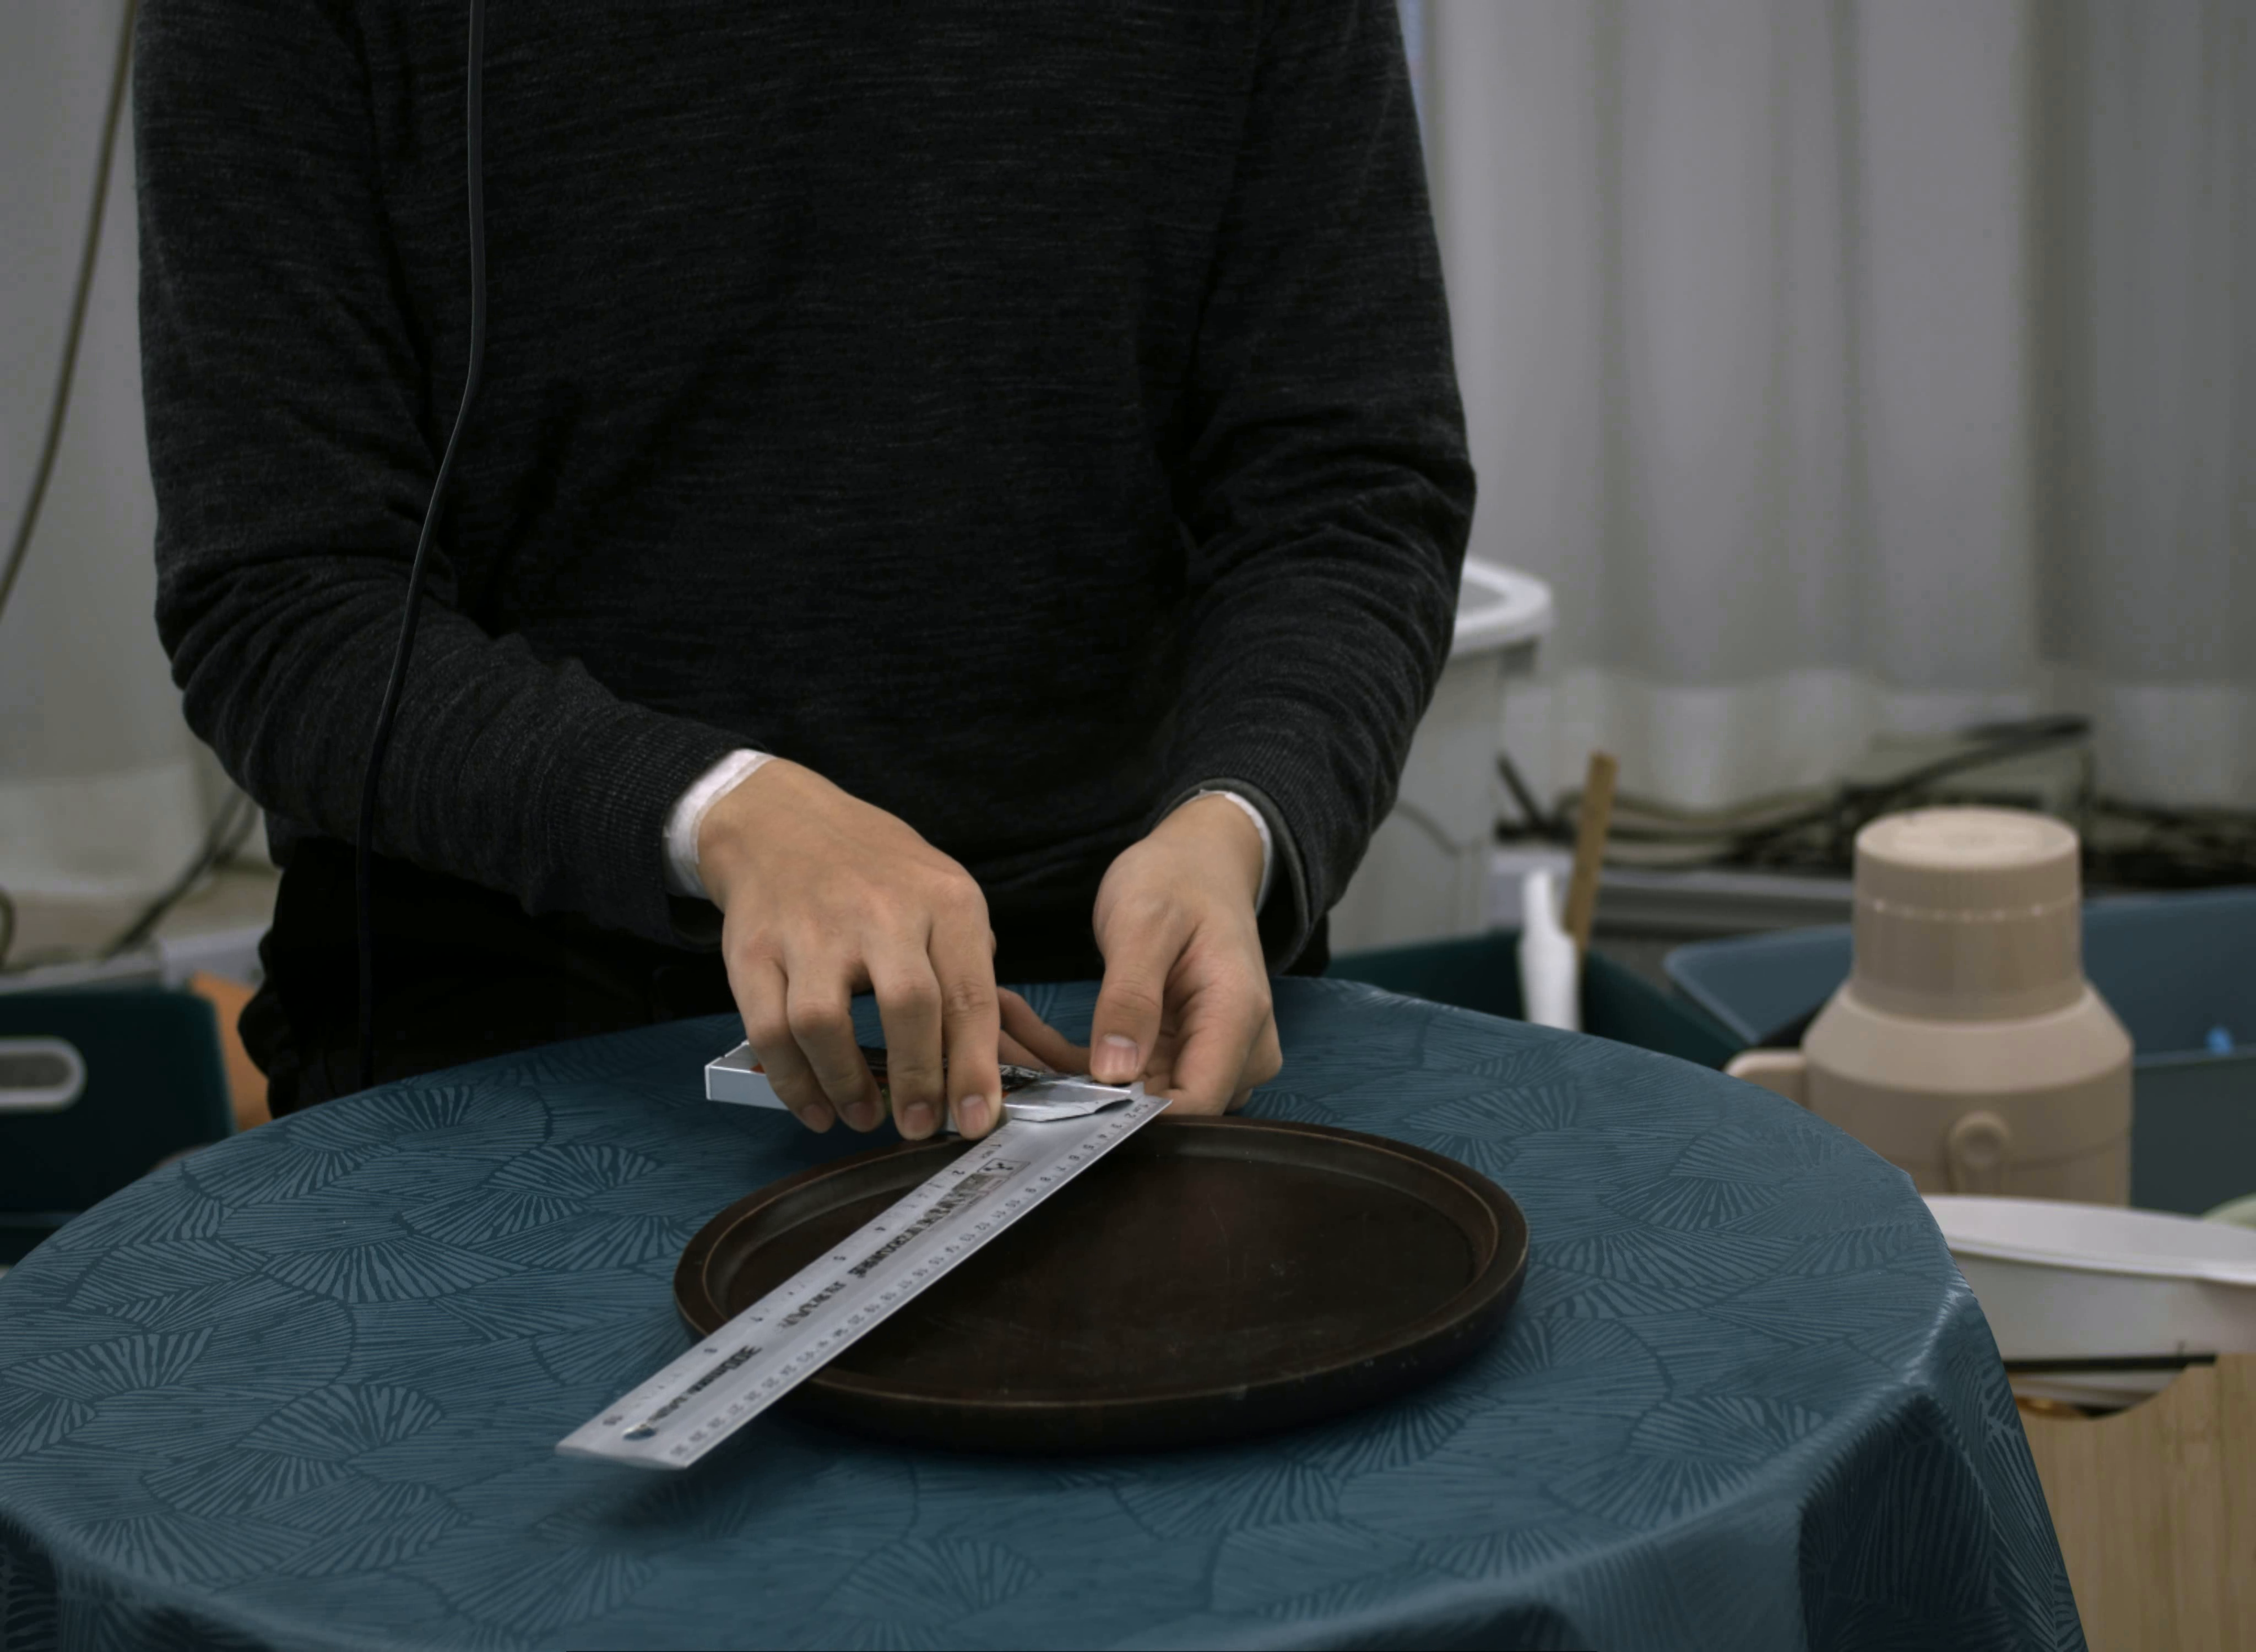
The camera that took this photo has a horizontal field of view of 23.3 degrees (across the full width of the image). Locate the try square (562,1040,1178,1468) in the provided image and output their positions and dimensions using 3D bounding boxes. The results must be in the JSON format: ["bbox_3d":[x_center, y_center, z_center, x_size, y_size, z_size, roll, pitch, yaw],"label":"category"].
[{"bbox_3d":[-0.117,0.122,1.614,0.152,0.016,0.313,5,18,25],"label":"try square"}]

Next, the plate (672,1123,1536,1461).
[{"bbox_3d":[-0.007,0.133,1.601,0.254,0.029,0.256,-2,16,0],"label":"plate"}]
